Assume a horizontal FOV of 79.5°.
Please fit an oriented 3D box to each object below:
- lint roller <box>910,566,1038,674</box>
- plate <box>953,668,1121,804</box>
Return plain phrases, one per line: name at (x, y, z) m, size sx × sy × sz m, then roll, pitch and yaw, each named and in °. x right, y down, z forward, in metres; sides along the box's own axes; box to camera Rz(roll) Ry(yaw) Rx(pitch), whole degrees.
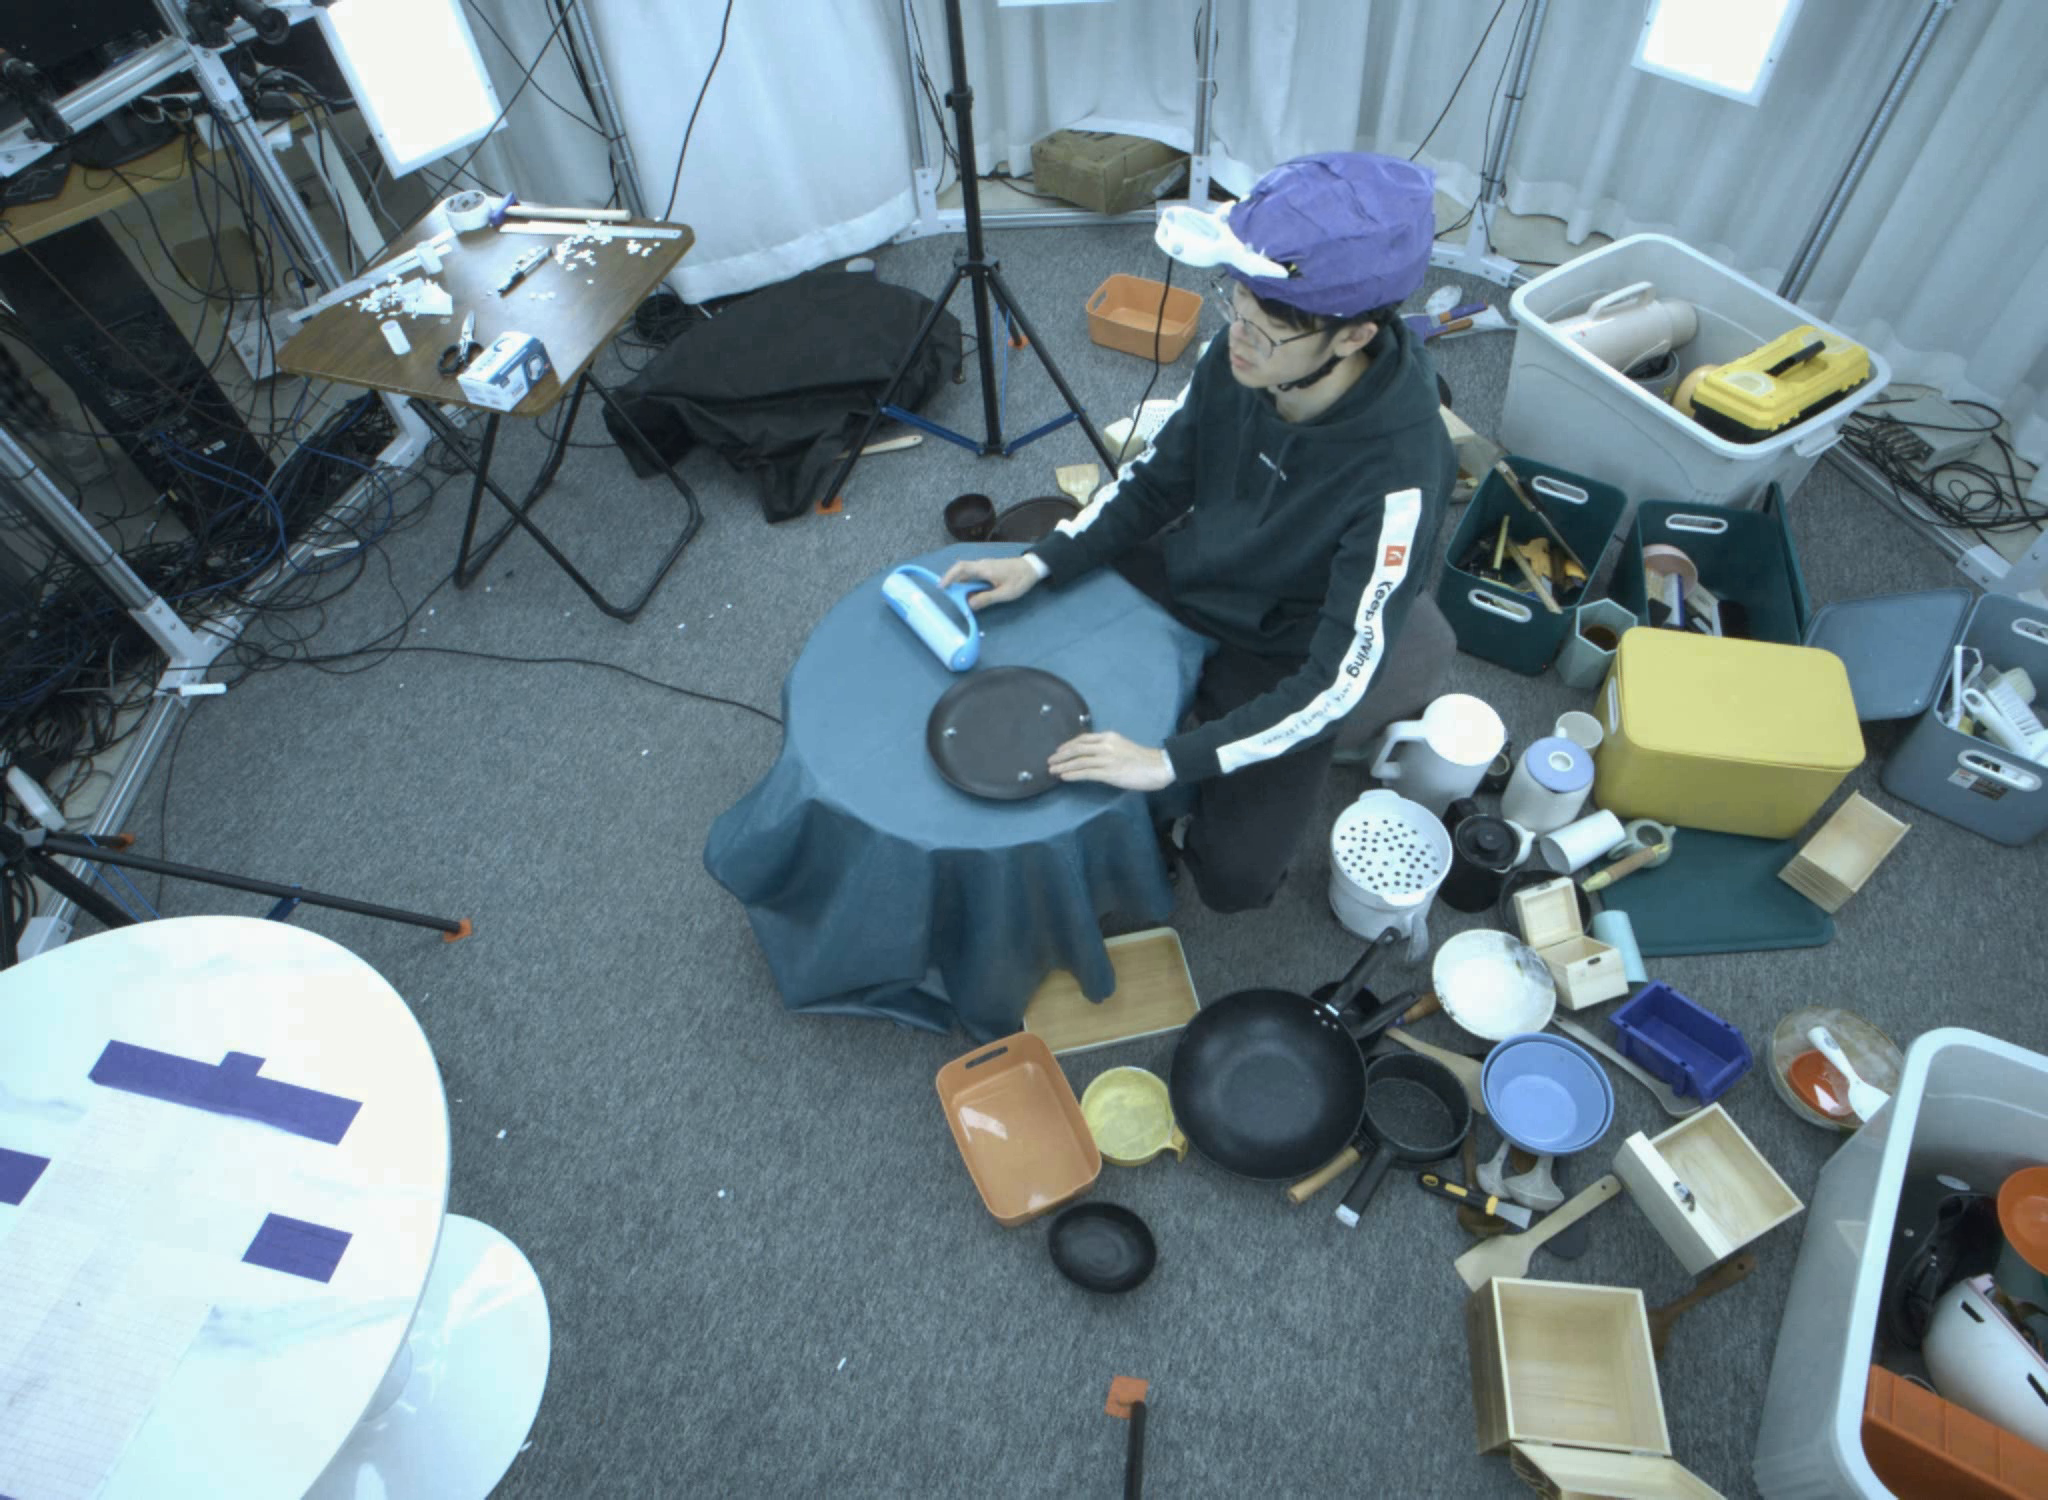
lint roller at (-0.056, -0.228, 1.912) m, size 0.182 × 0.068 × 0.224 m, roll -33°, pitch 59°, yaw -20°
plate at (0.019, -0.018, 1.781) m, size 0.244 × 0.023 × 0.242 m, roll 0°, pitch 55°, yaw 2°
